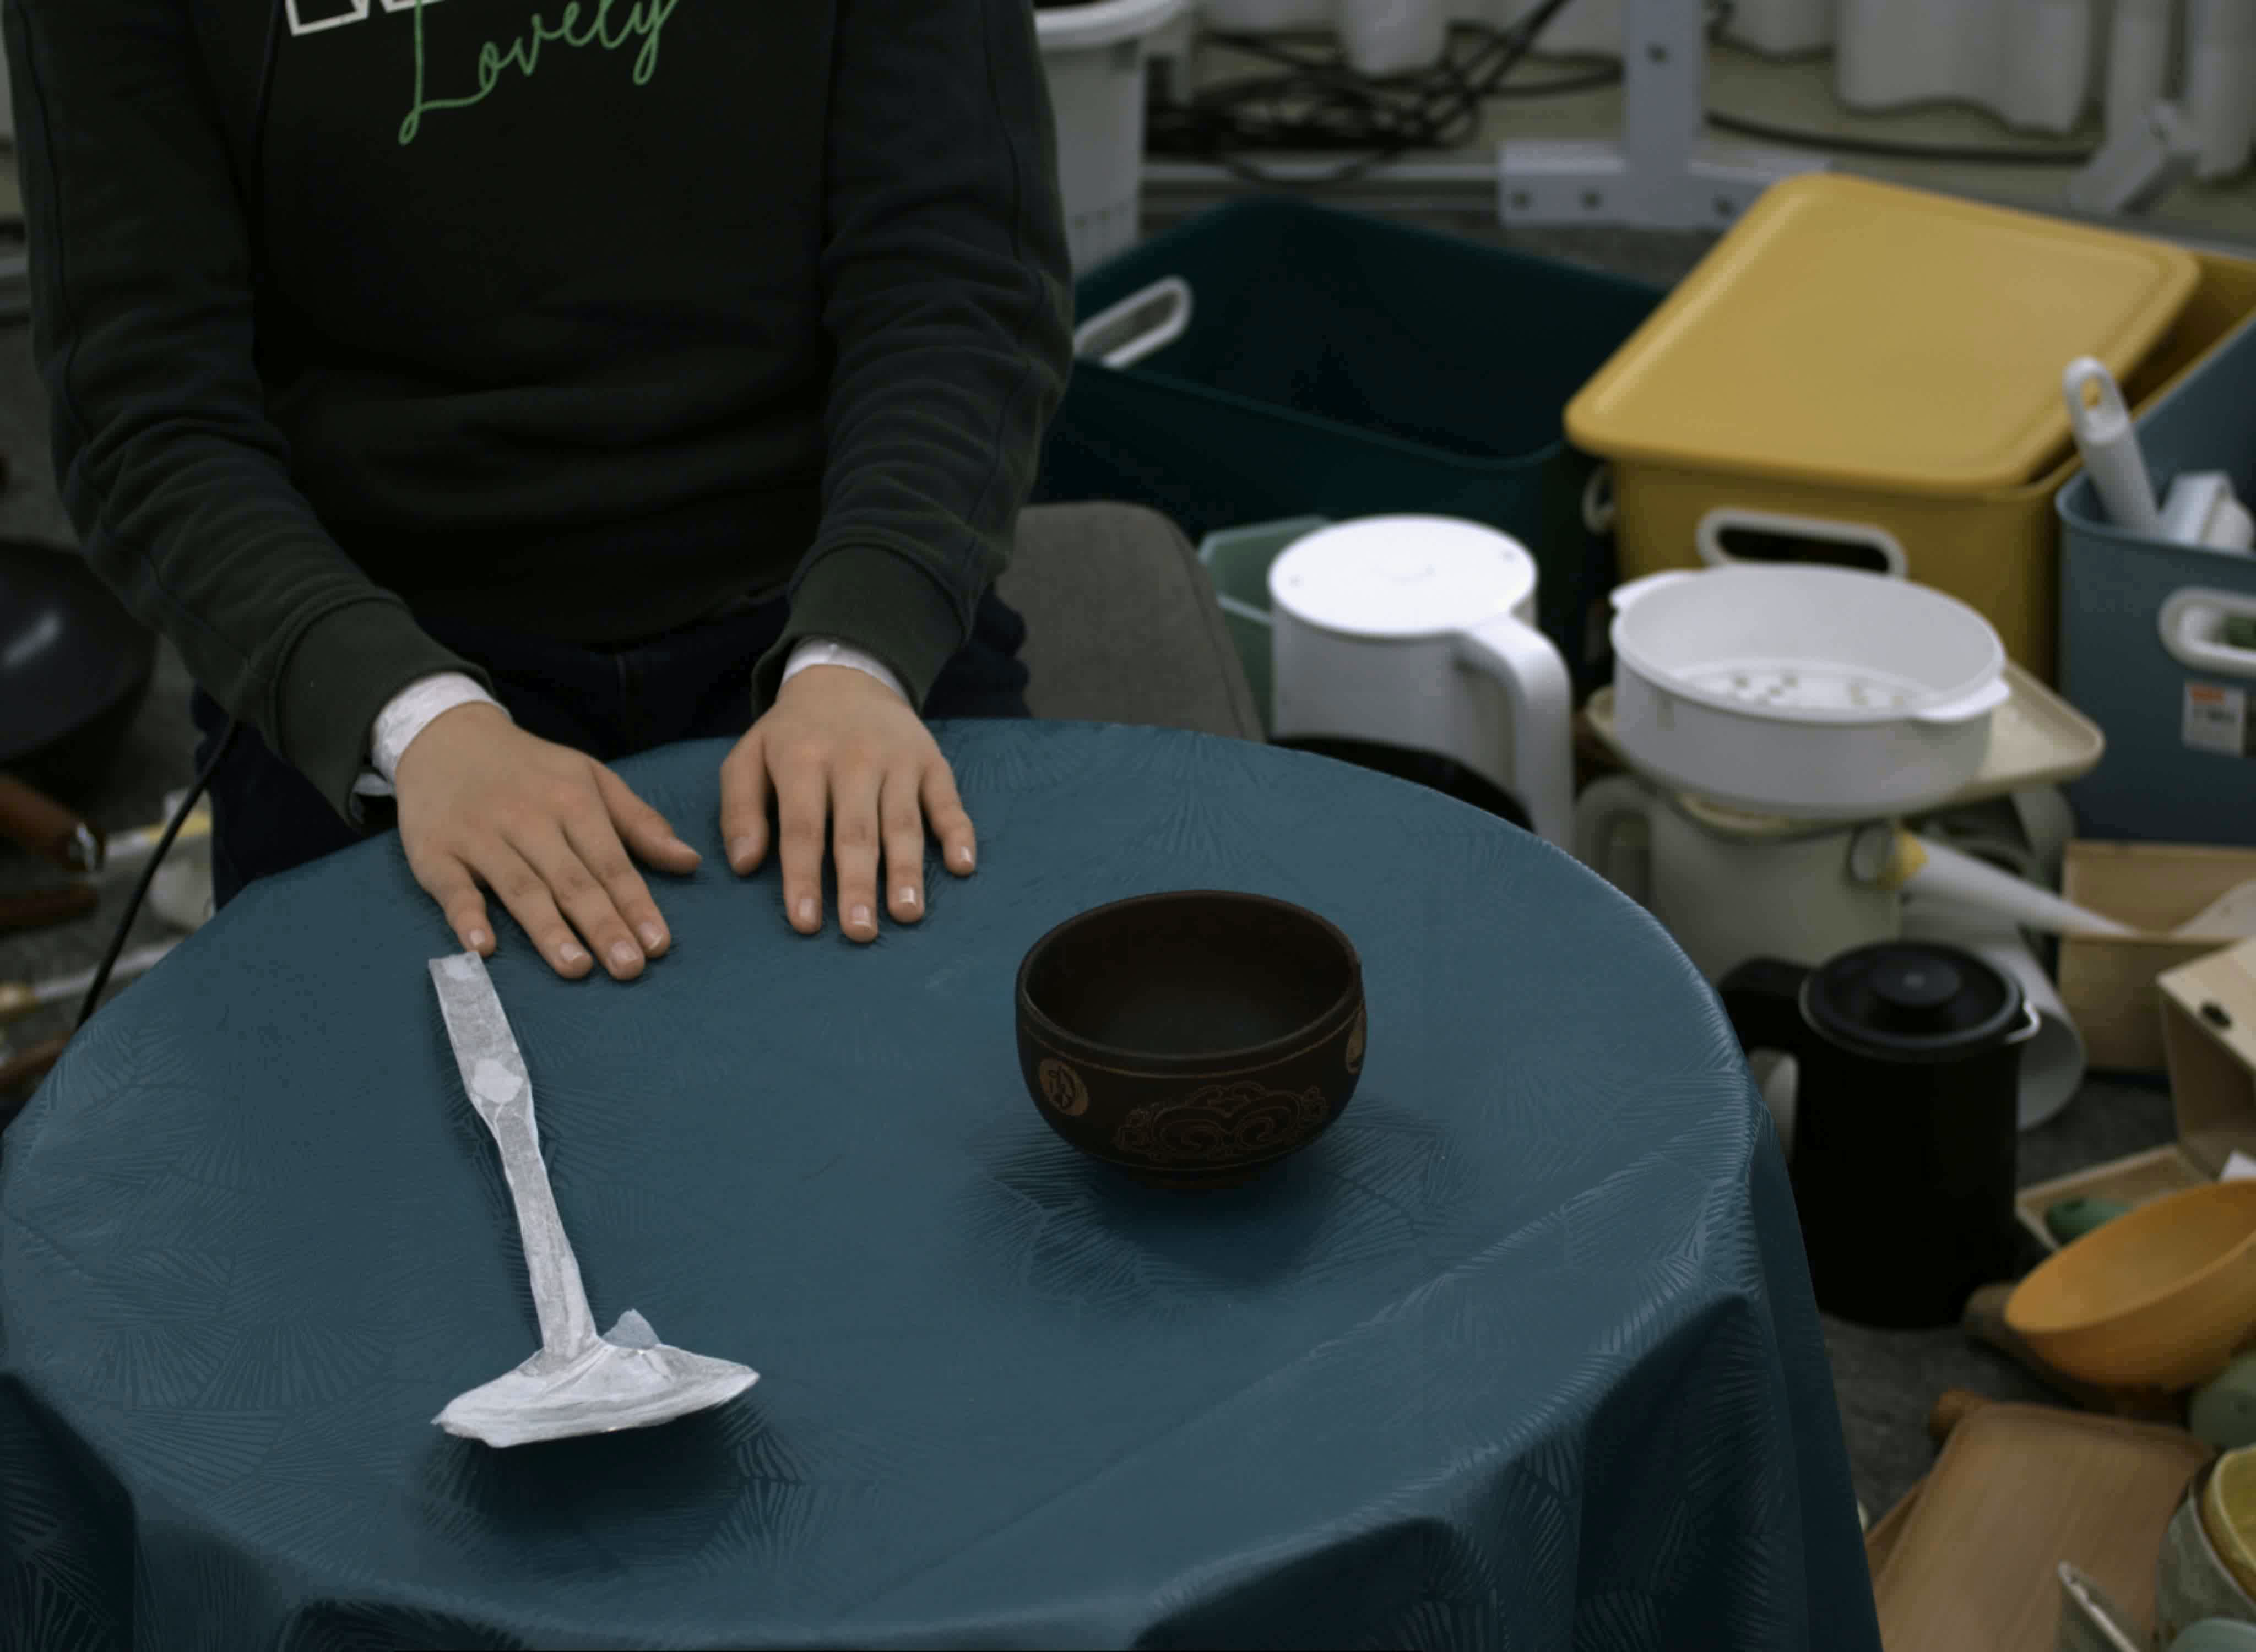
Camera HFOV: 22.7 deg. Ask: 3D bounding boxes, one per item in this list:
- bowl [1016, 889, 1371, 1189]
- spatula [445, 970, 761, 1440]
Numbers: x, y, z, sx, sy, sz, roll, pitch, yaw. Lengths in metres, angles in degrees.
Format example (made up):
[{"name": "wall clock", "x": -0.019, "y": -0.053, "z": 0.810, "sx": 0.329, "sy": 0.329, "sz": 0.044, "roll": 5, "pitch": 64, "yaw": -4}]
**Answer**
[{"name": "bowl", "x": 0.022, "y": 0.077, "z": 1.868, "sx": 0.117, "sy": 0.069, "sz": 0.120, "roll": -1, "pitch": 26, "yaw": 1}, {"name": "spatula", "x": -0.193, "y": 0.117, "z": 1.848, "sx": 0.098, "sy": 0.044, "sz": 0.369, "roll": -10, "pitch": 28, "yaw": -9}]
